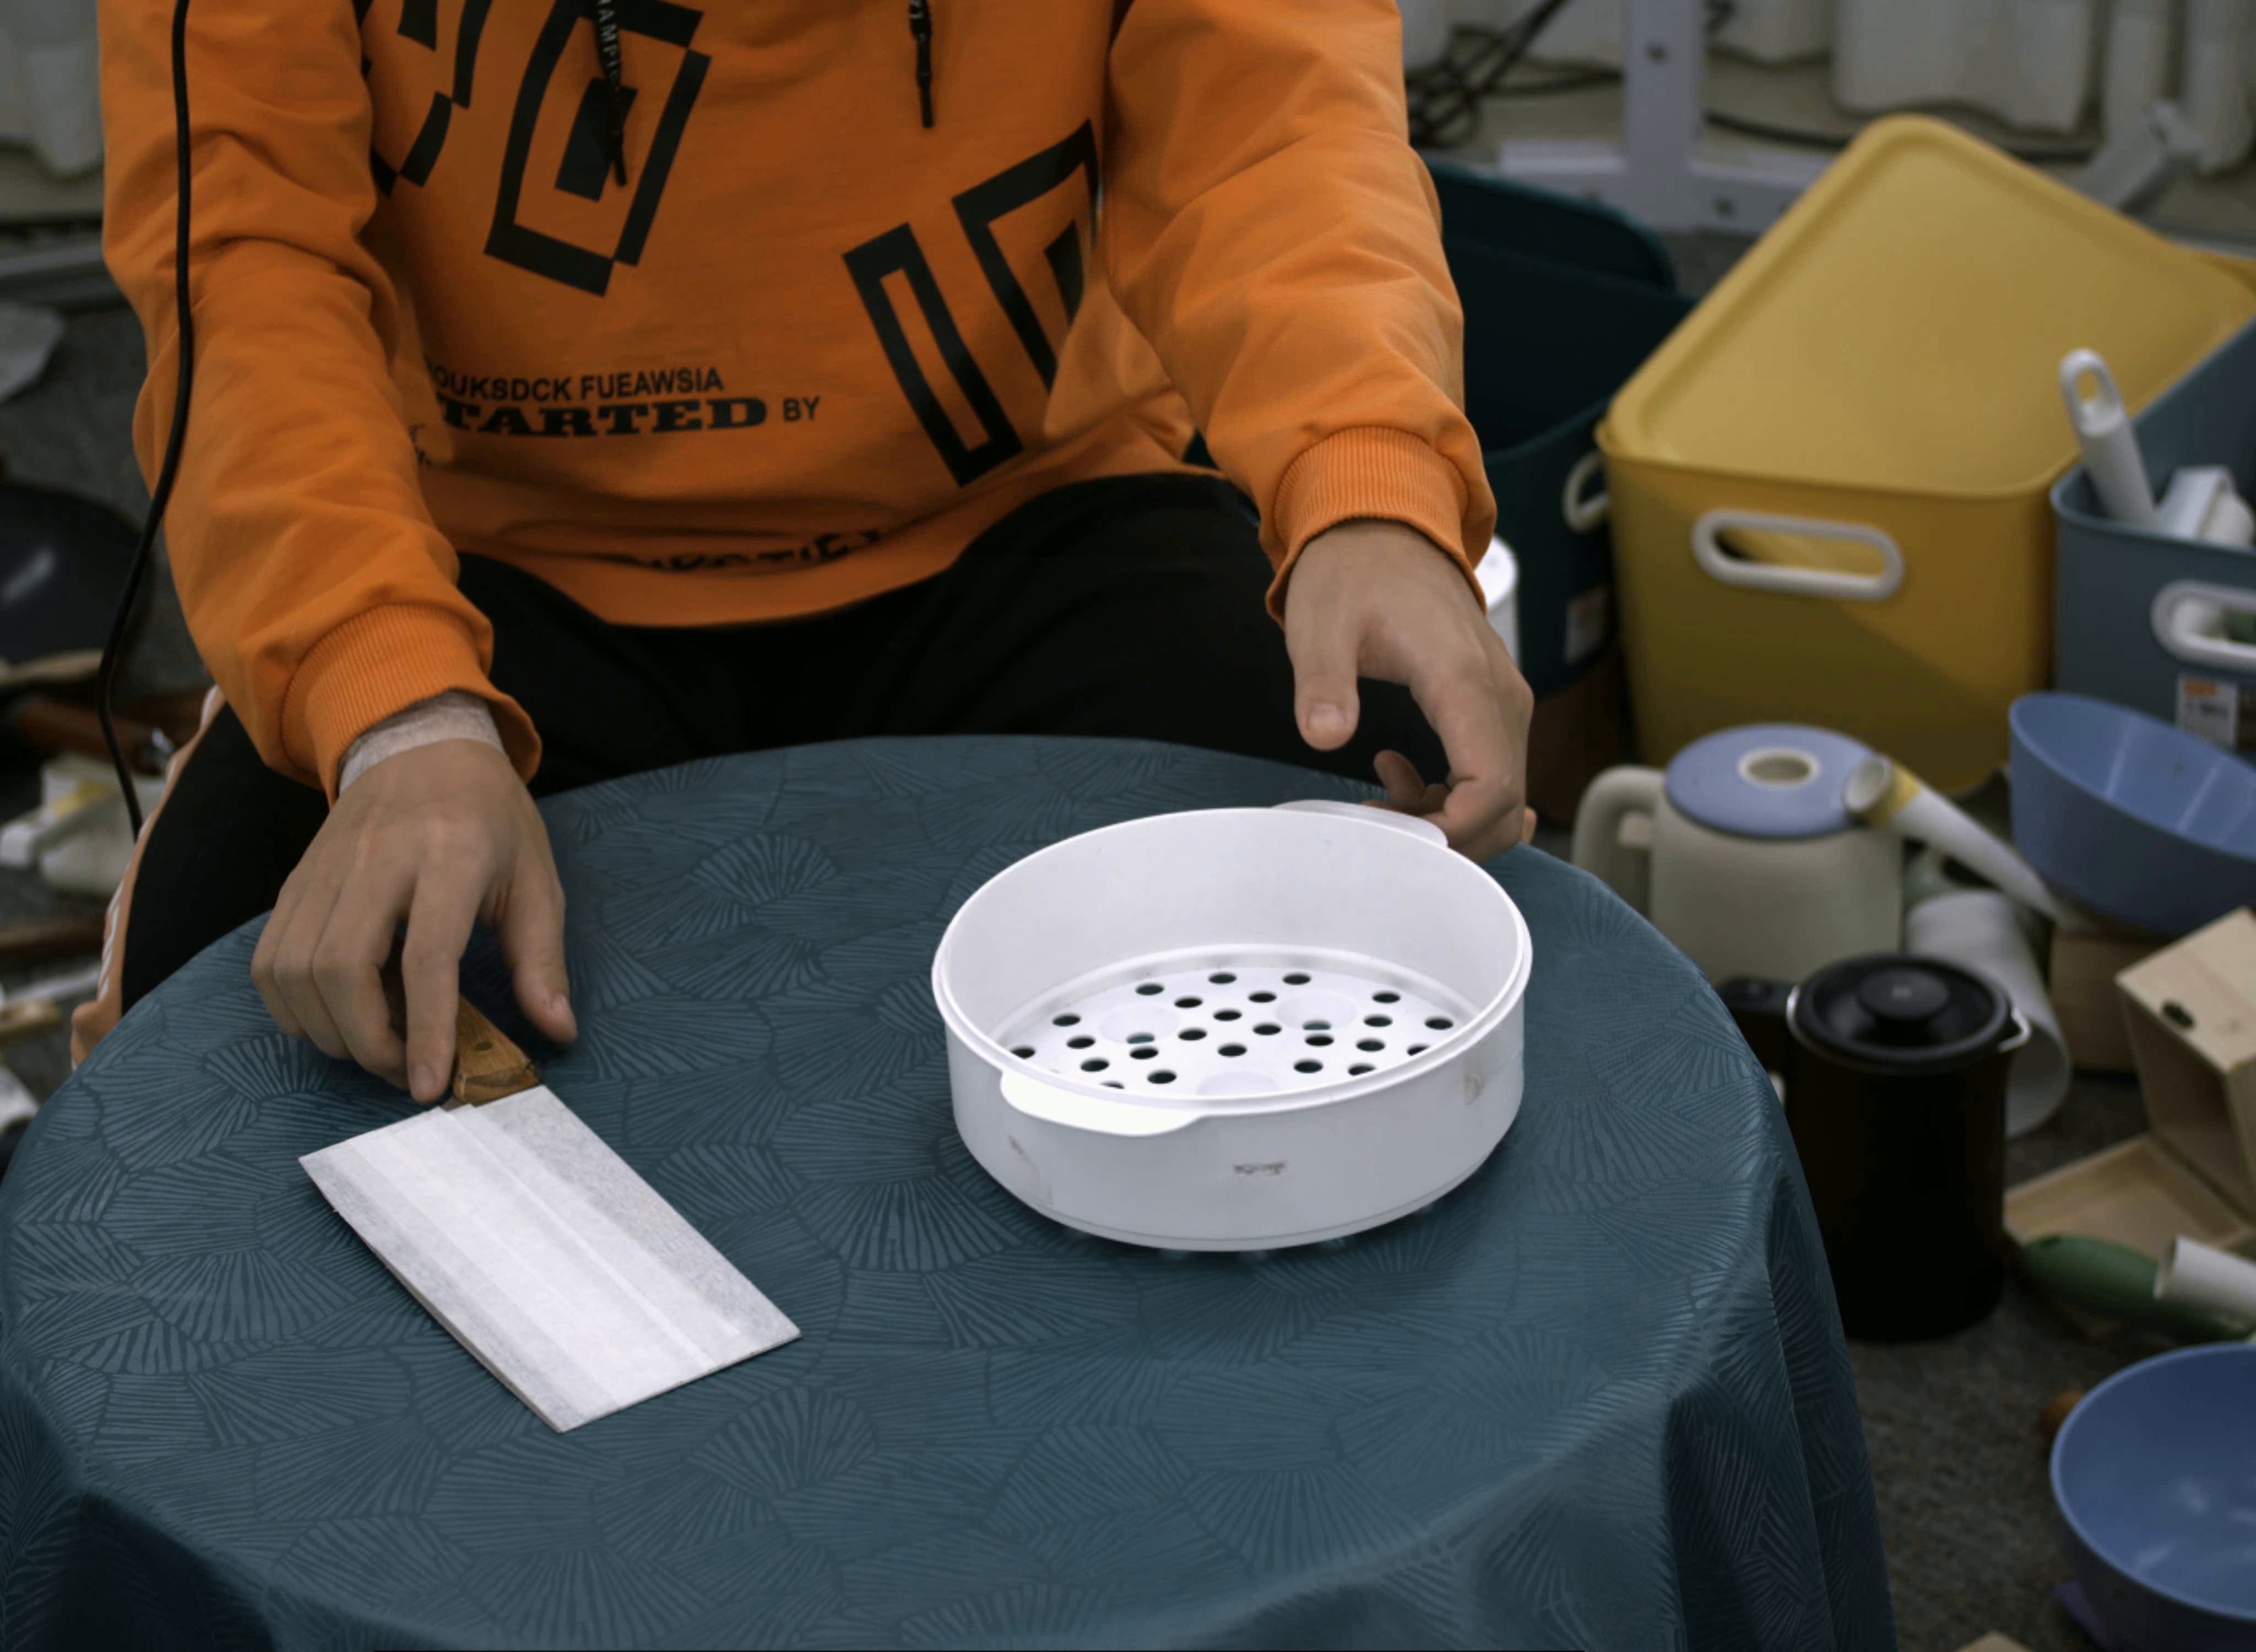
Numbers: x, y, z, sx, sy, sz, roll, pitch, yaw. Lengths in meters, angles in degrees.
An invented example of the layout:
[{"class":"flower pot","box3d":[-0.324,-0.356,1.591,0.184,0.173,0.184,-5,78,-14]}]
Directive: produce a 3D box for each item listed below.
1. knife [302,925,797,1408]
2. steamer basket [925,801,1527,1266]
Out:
[{"class":"knife","box3d":[-0.221,0.114,1.882,0.093,0.021,0.307,-20,34,-26]},{"class":"steamer basket","box3d":[0.034,0.071,1.882,0.200,0.068,0.234,10,32,25]}]
